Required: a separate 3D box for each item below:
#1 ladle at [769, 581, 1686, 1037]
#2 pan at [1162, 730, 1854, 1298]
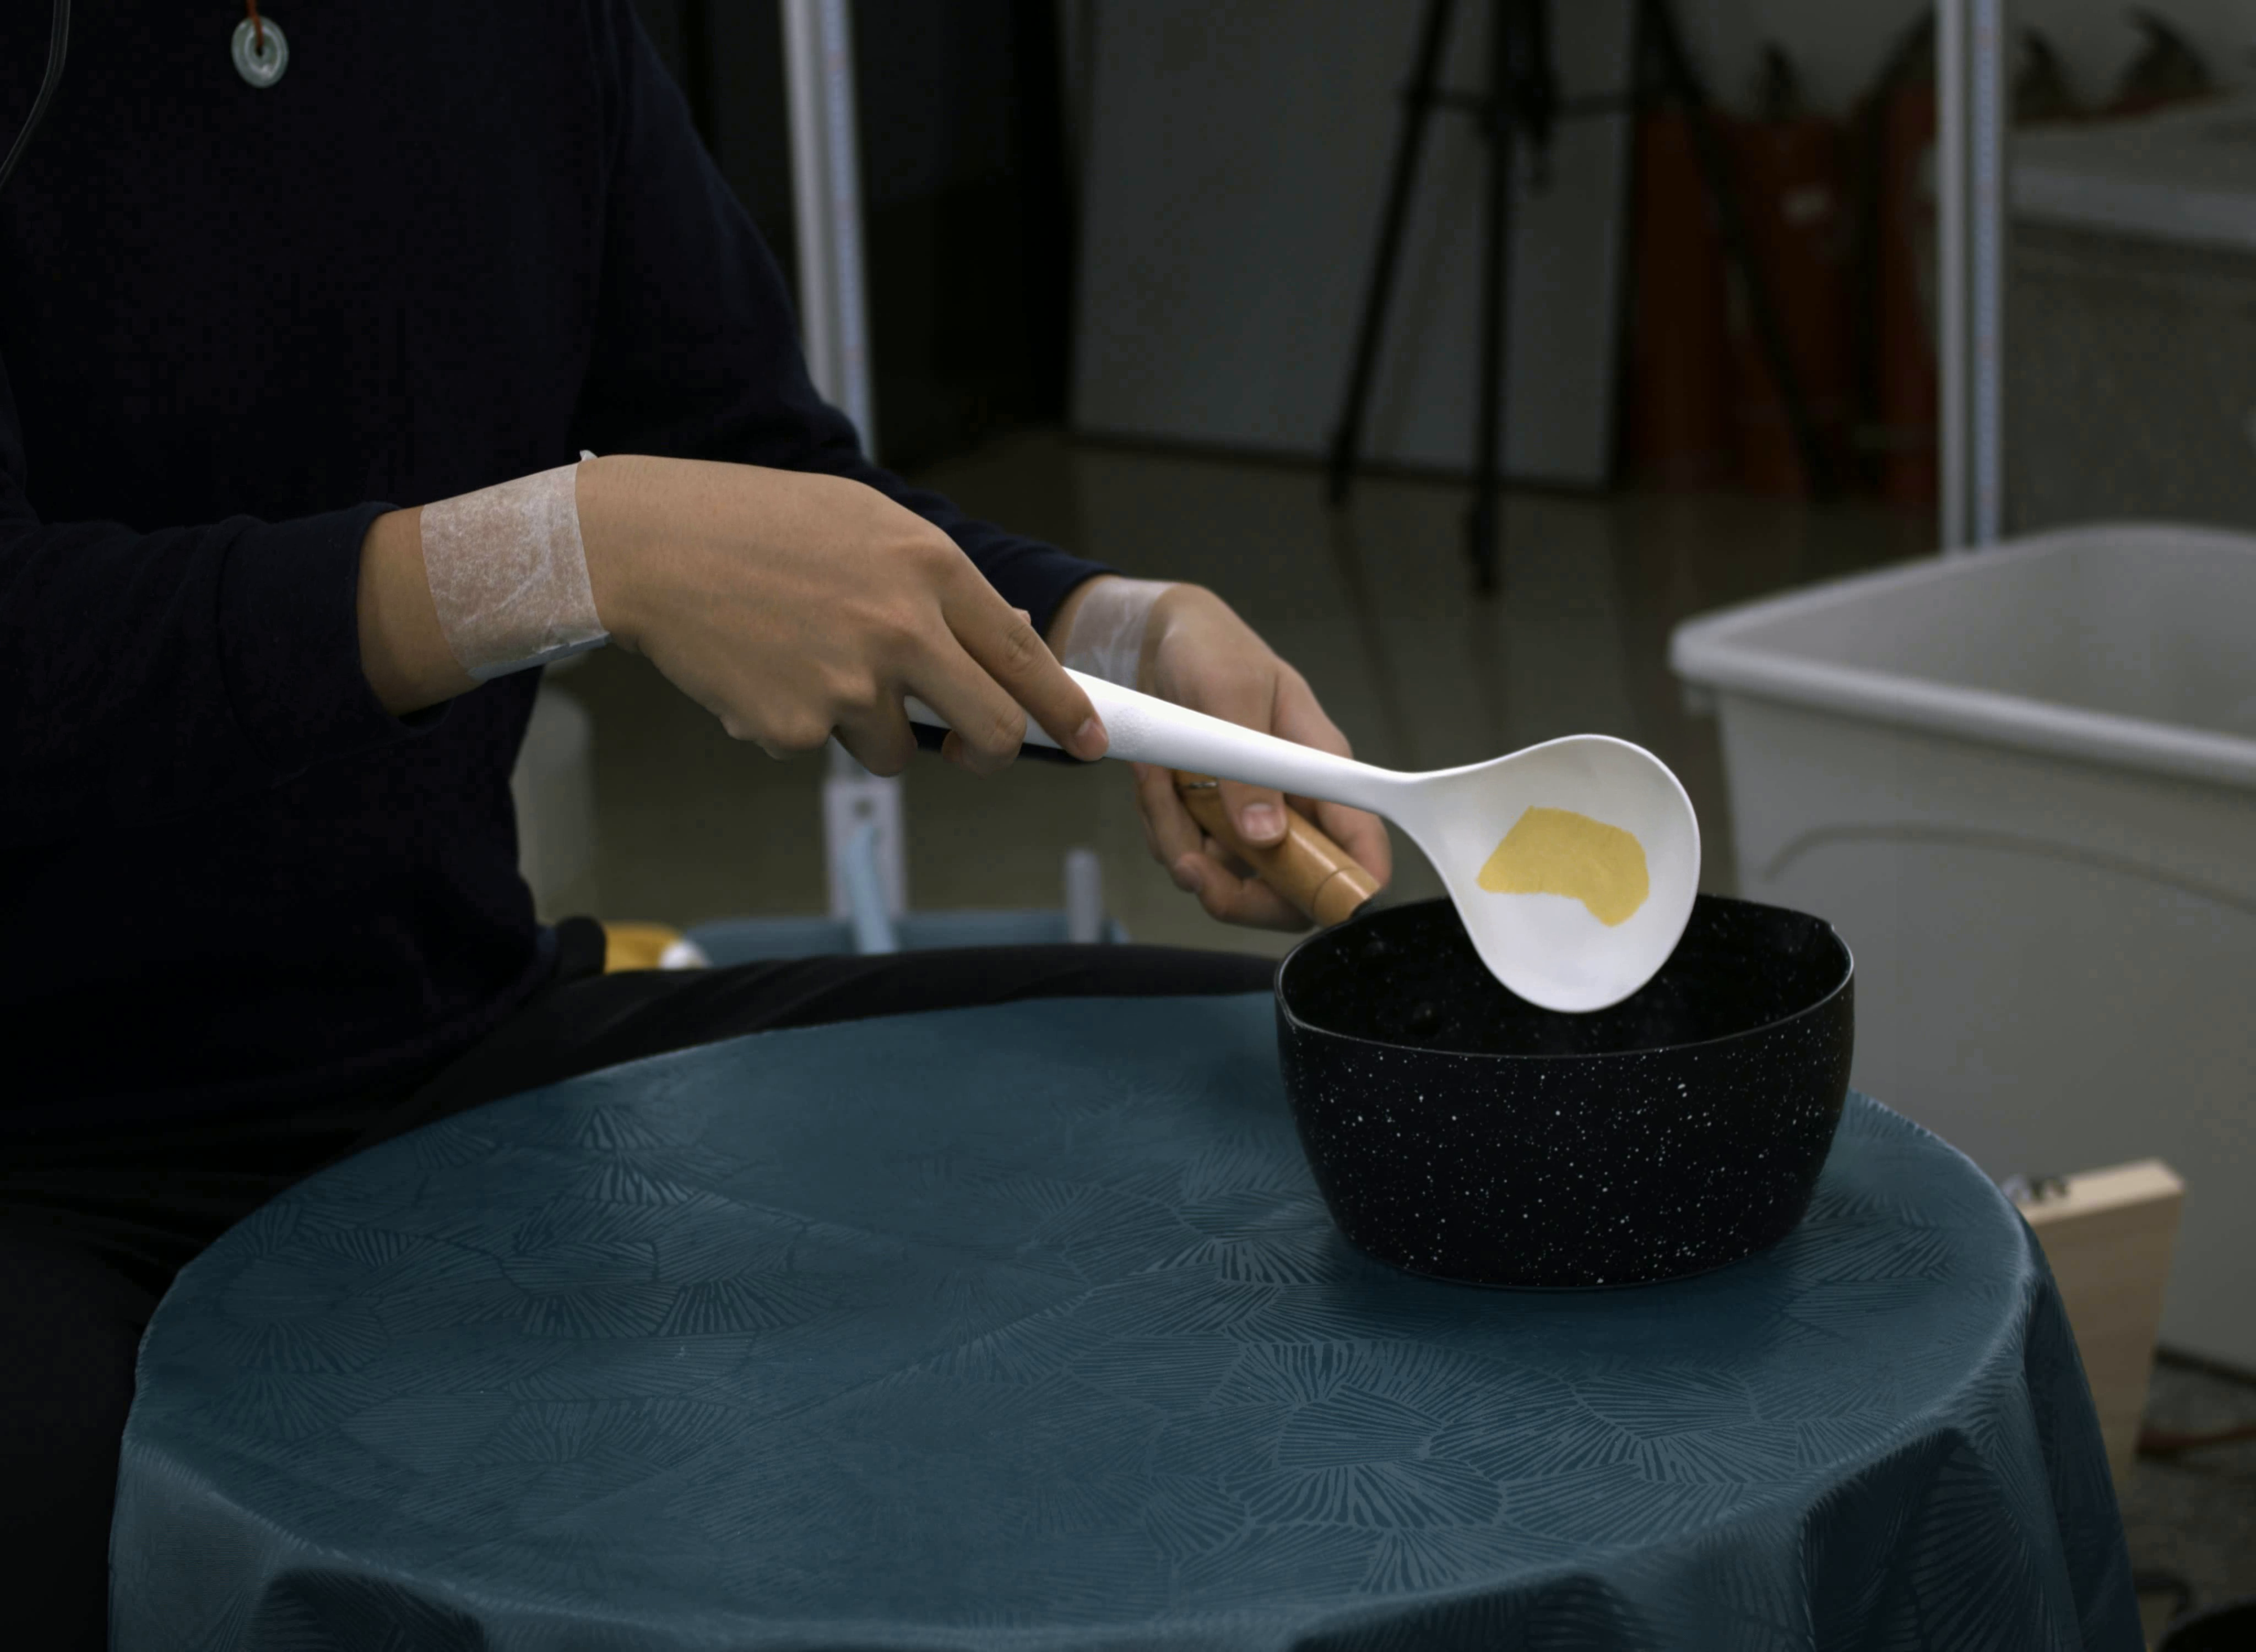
[{"bbox_3d":[0.031,-0.013,1.667,0.288,0.091,0.070,16,21,-14],"label":"ladle"},{"bbox_3d":[0.100,0.056,1.769,0.203,0.109,0.346,-12,18,-26],"label":"pan"}]
